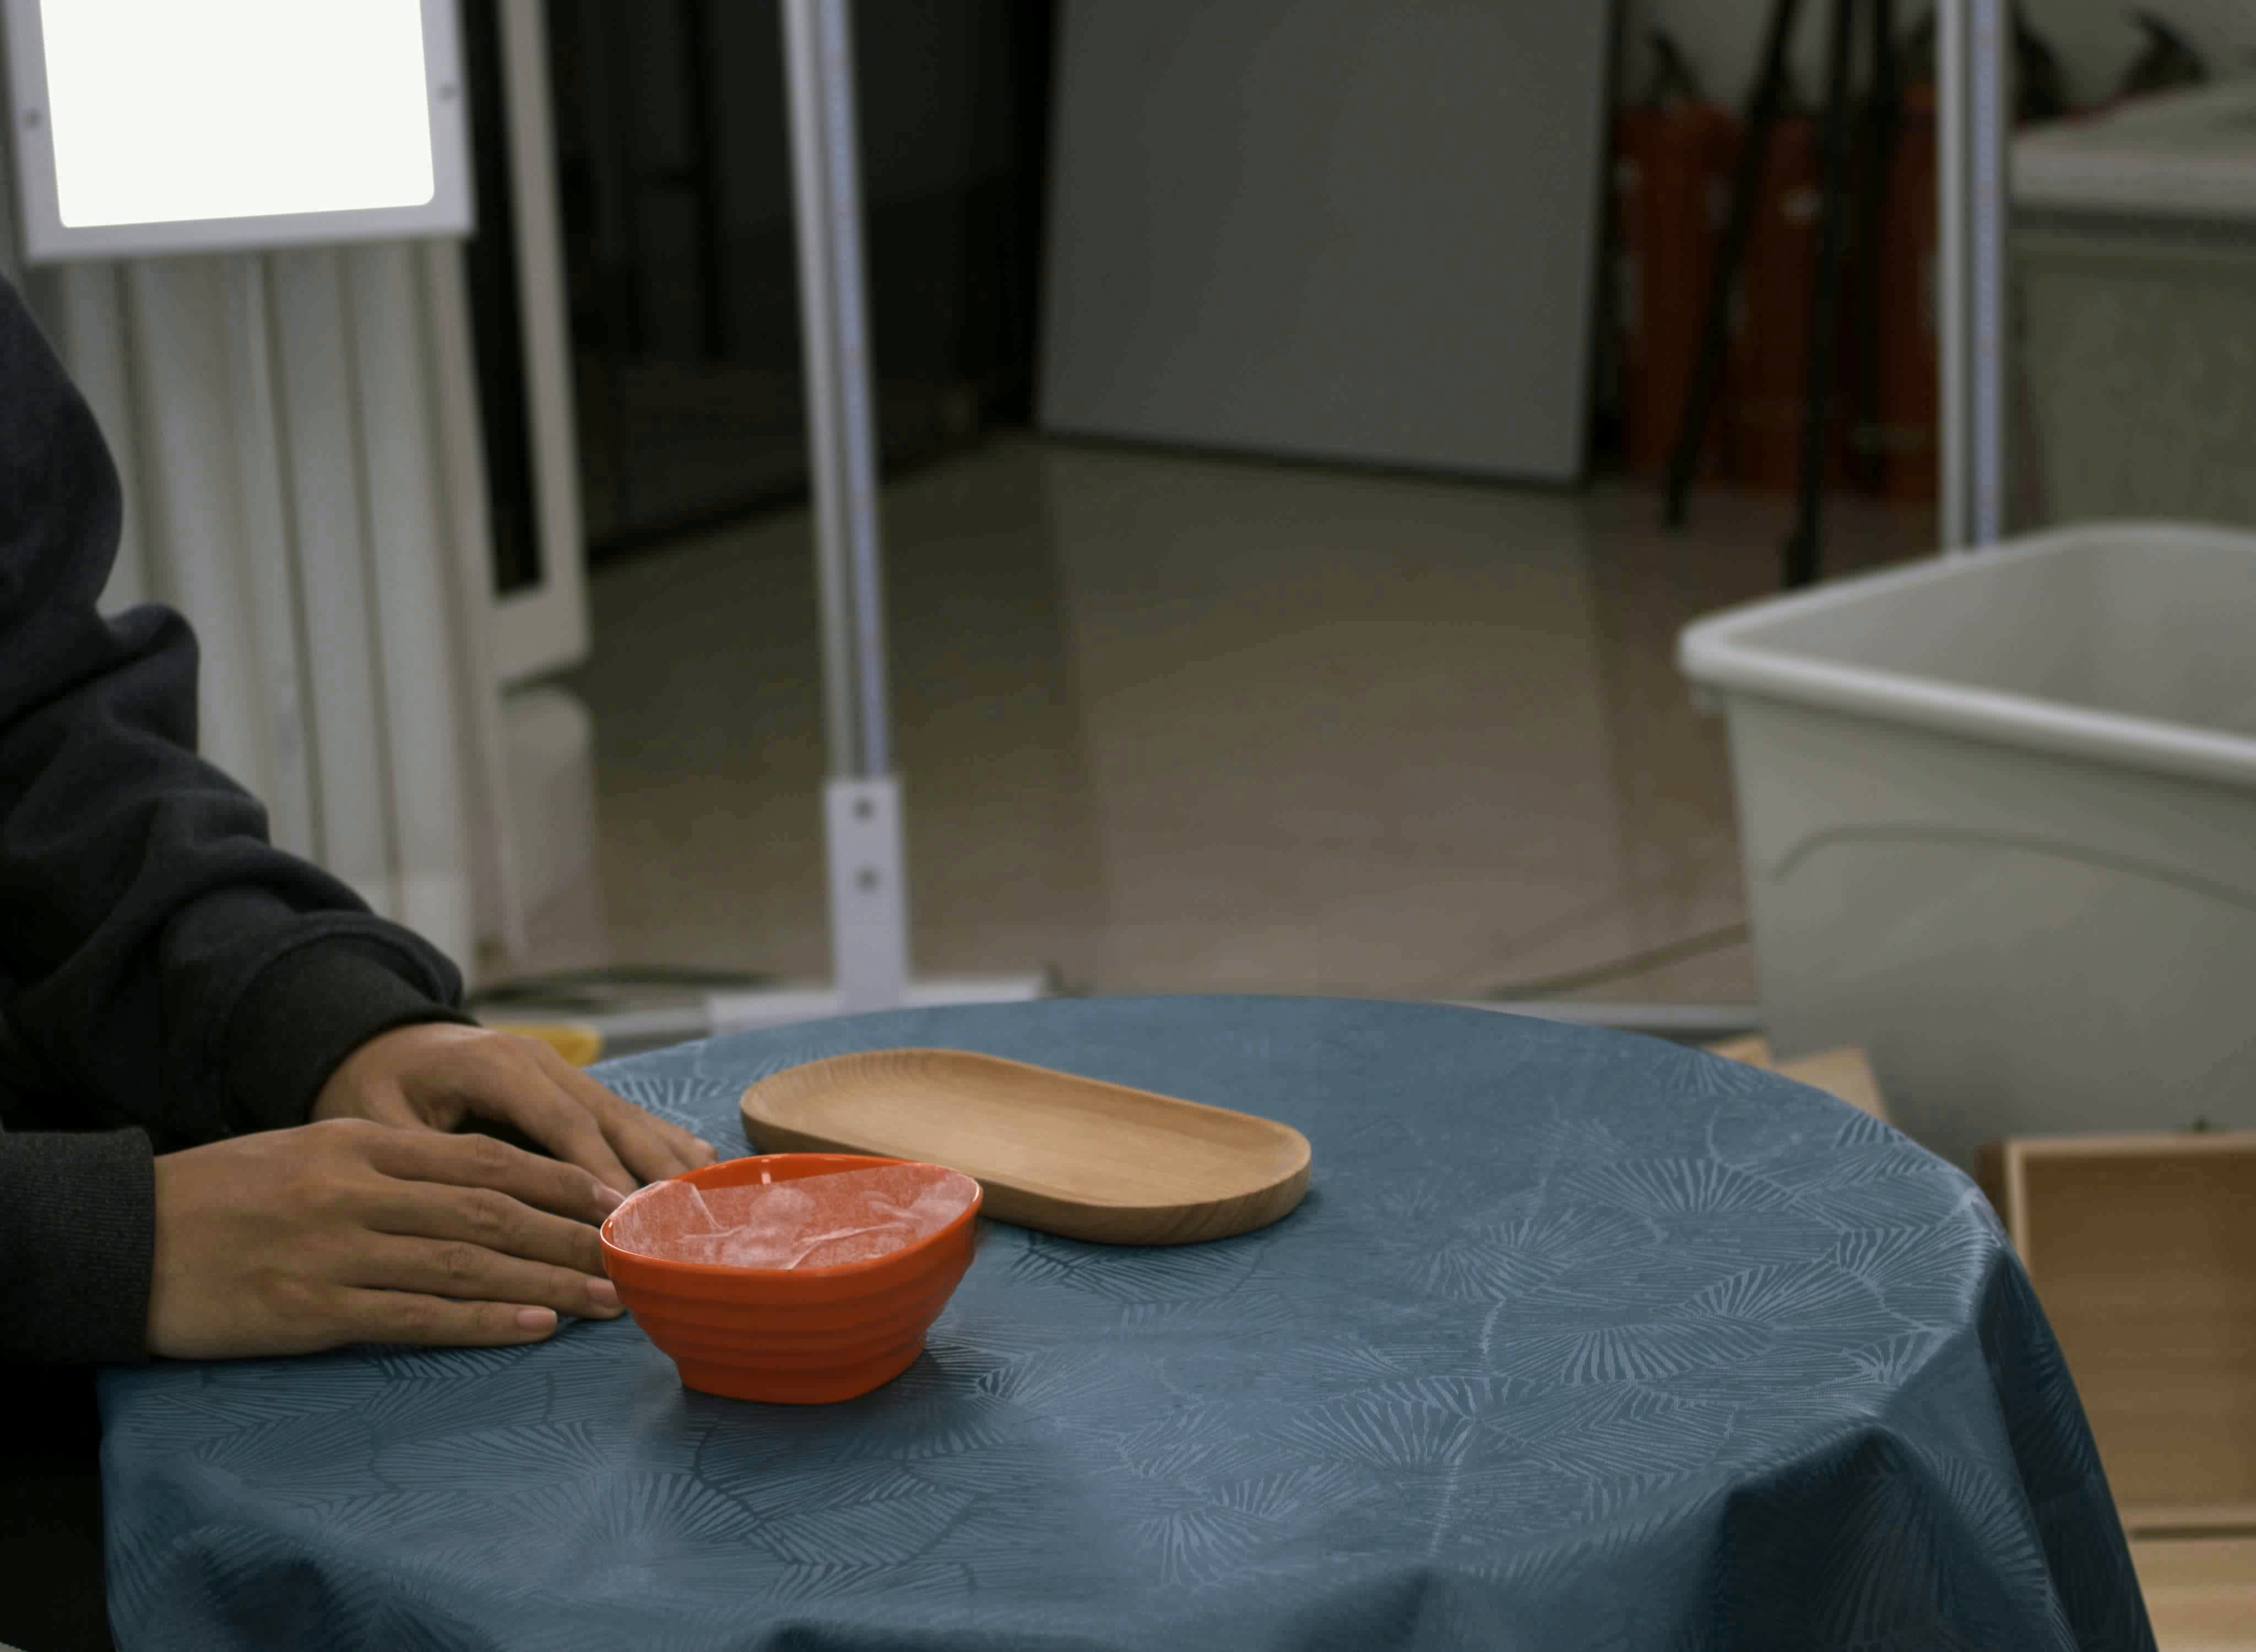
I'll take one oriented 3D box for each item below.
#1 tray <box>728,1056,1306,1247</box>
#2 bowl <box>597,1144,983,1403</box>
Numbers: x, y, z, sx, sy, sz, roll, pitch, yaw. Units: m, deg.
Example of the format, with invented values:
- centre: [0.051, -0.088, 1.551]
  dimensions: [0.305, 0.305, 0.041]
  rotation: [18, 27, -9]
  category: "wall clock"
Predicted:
- centre: [-0.039, 0.108, 1.802]
  dimensions: [0.233, 0.020, 0.099]
  rotation: [8, 17, 44]
  category: "tray"
- centre: [-0.099, 0.136, 1.619]
  dimensions: [0.117, 0.052, 0.119]
  rotation: [-3, 15, 0]
  category: "bowl"
